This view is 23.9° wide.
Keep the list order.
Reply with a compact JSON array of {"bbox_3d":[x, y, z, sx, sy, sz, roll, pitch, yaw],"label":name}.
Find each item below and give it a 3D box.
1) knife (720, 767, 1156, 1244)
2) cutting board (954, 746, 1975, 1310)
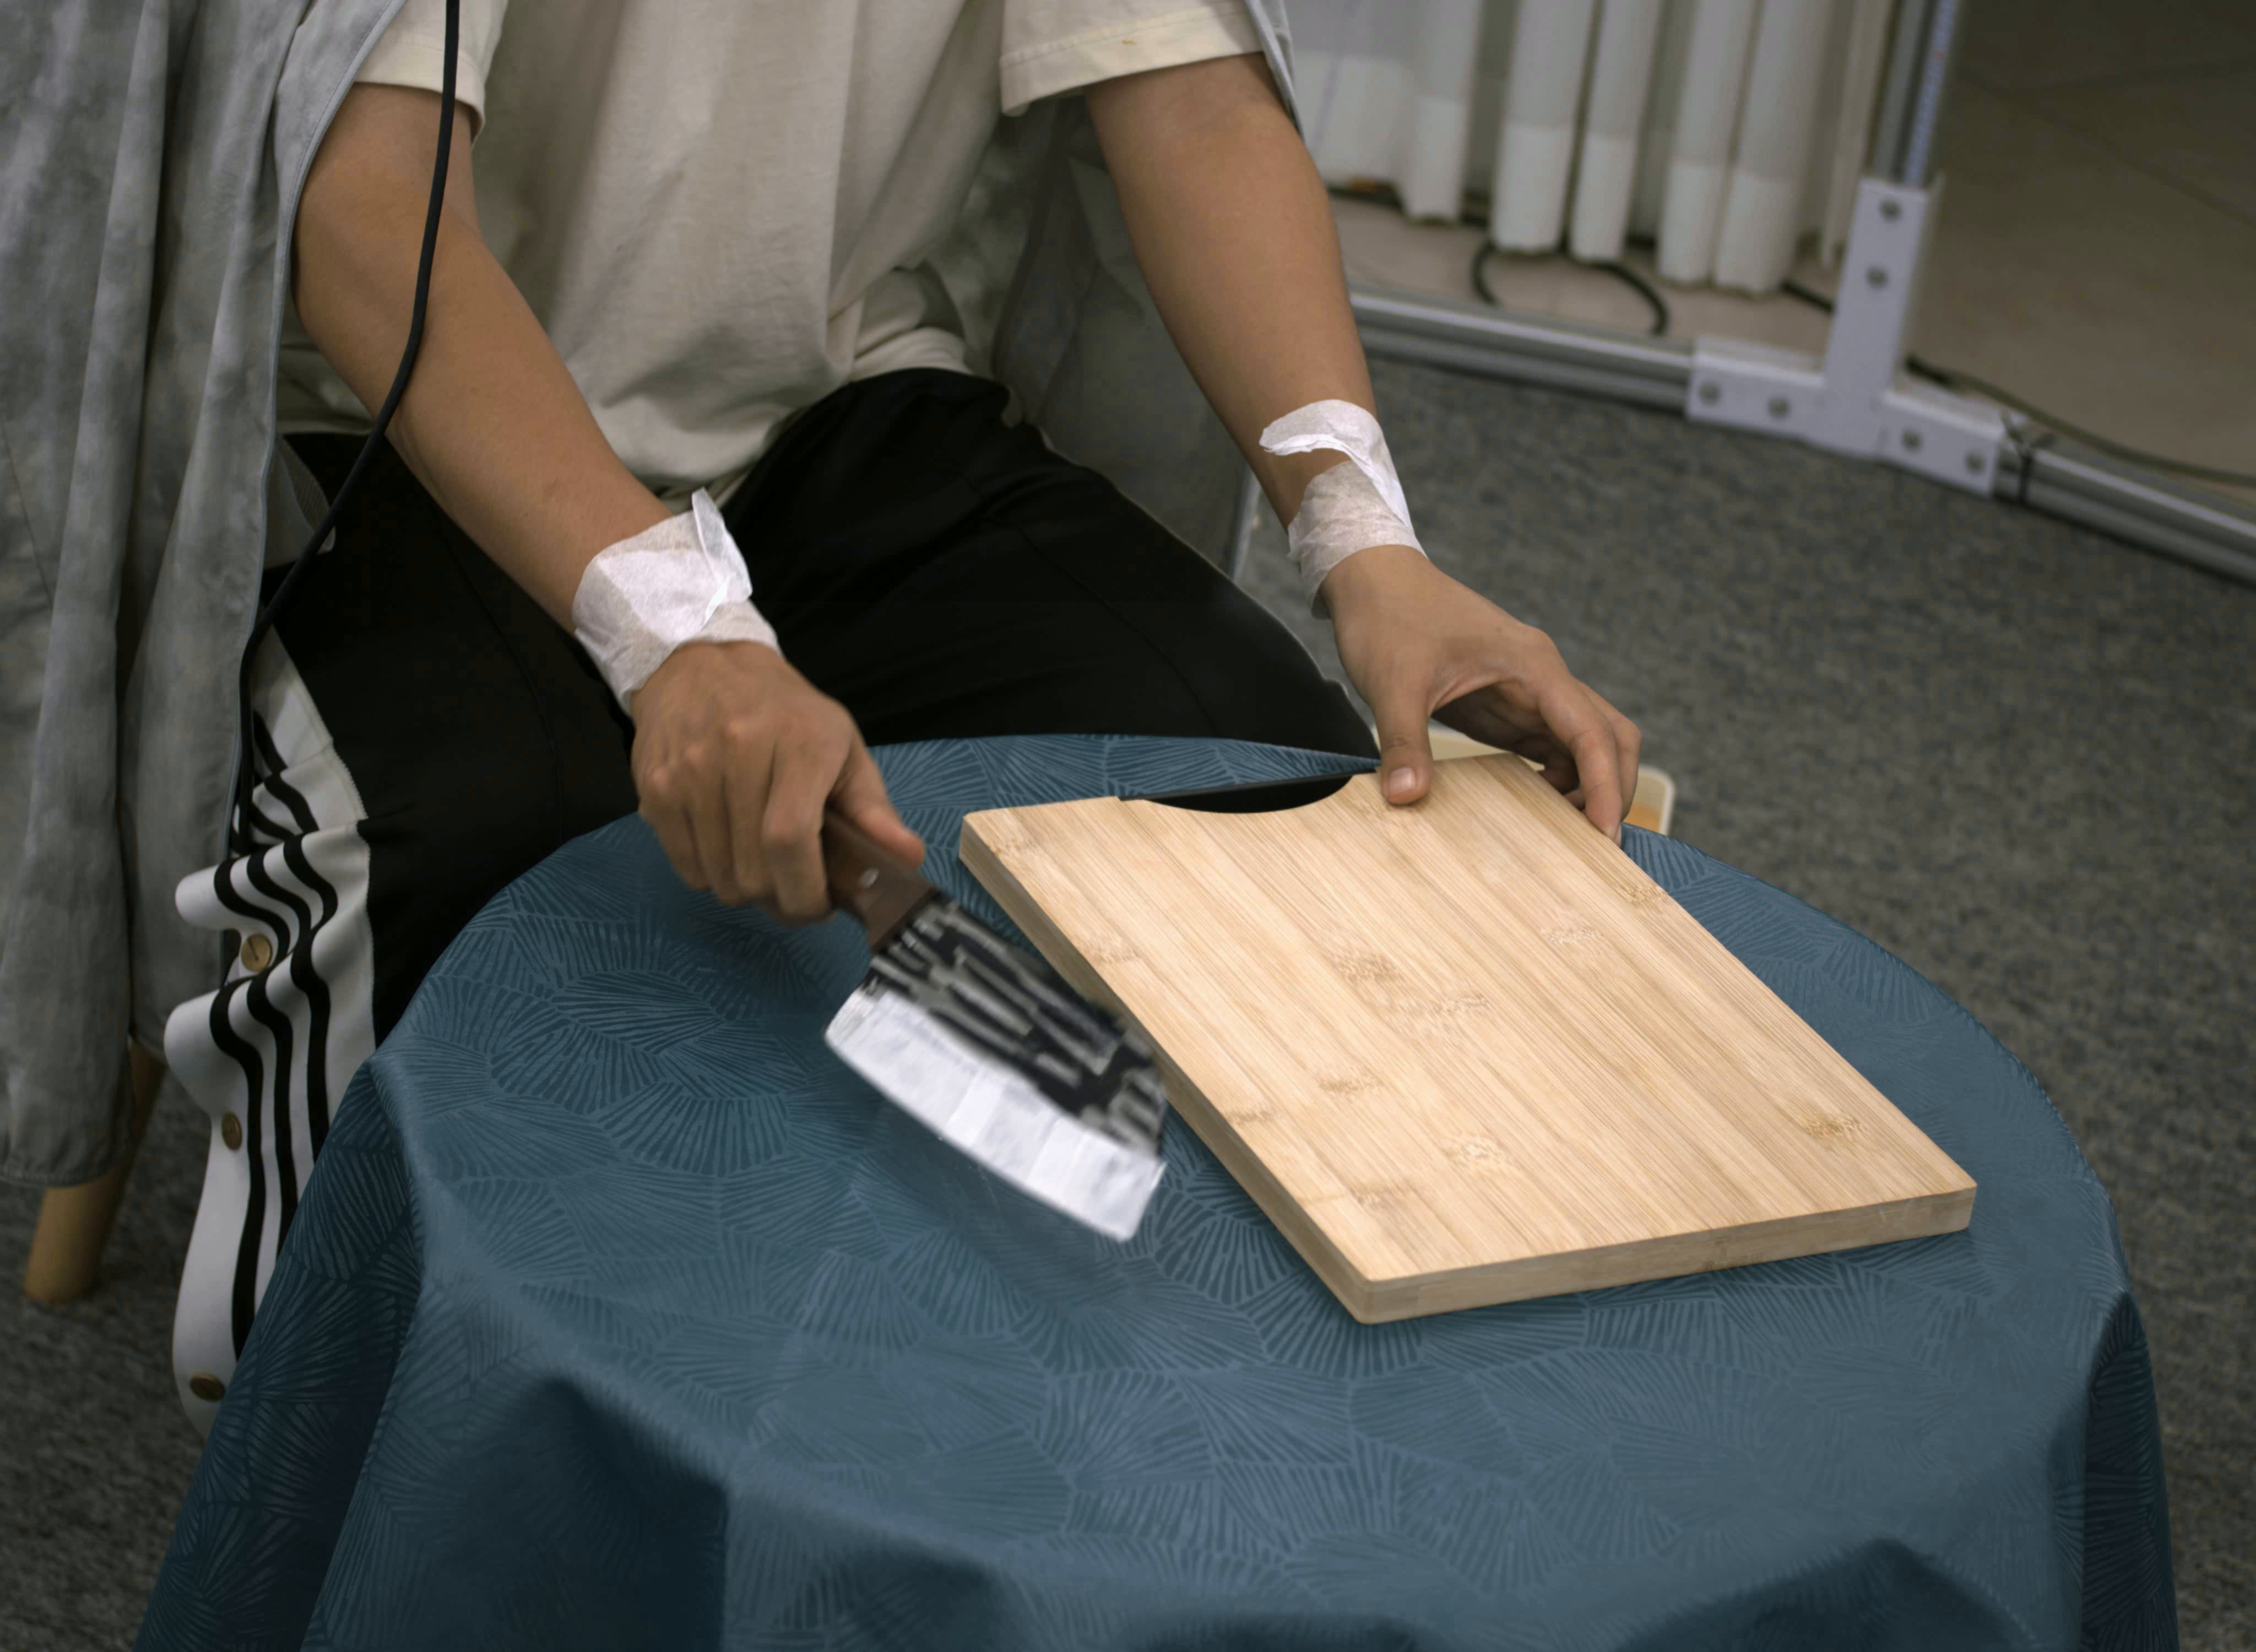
[{"bbox_3d":[-0.072,0.058,1.819,0.302,0.068,0.024,35,-6,48],"label":"knife"},{"bbox_3d":[0.113,0.066,1.926,0.249,0.023,0.352,-7,29,-25],"label":"cutting board"}]
